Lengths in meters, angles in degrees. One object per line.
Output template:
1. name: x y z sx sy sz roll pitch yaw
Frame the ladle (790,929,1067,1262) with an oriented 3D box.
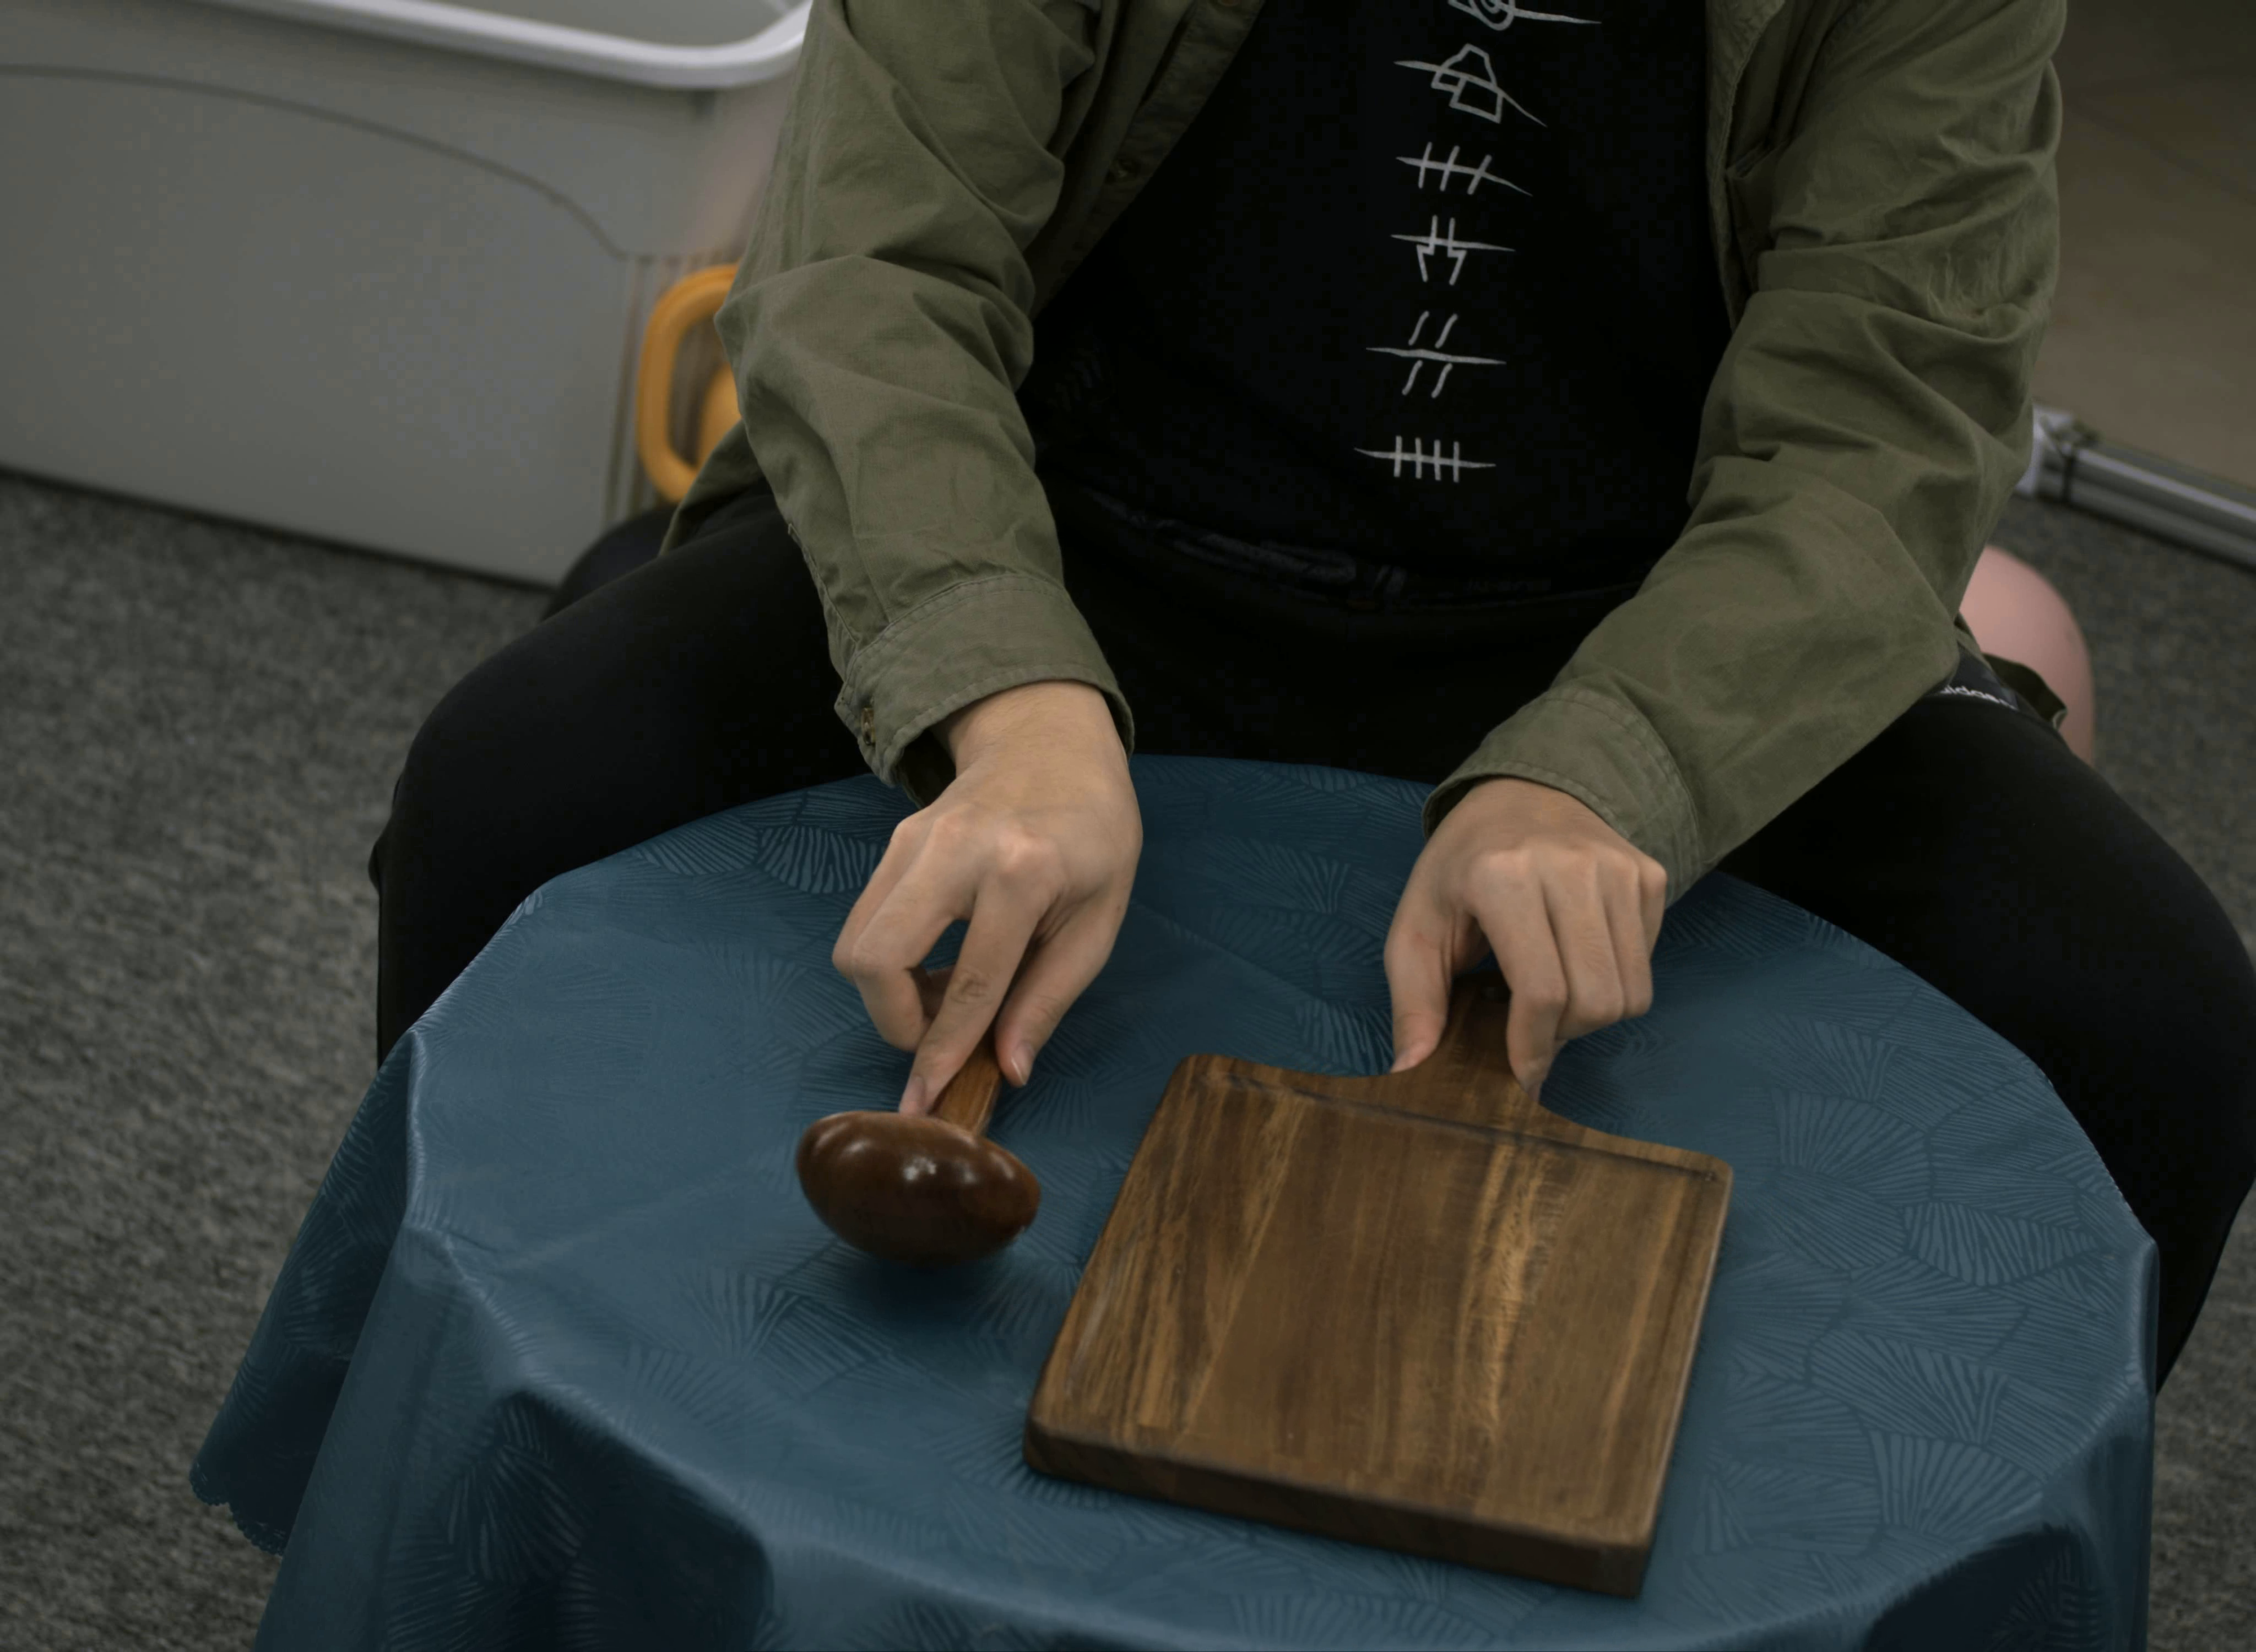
1. ladle: -0.053 0.070 1.809 0.082 0.076 0.275 16 26 3

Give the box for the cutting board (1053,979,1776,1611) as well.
1. cutting board: 0.110 0.138 1.769 0.201 0.023 0.353 12 27 10
